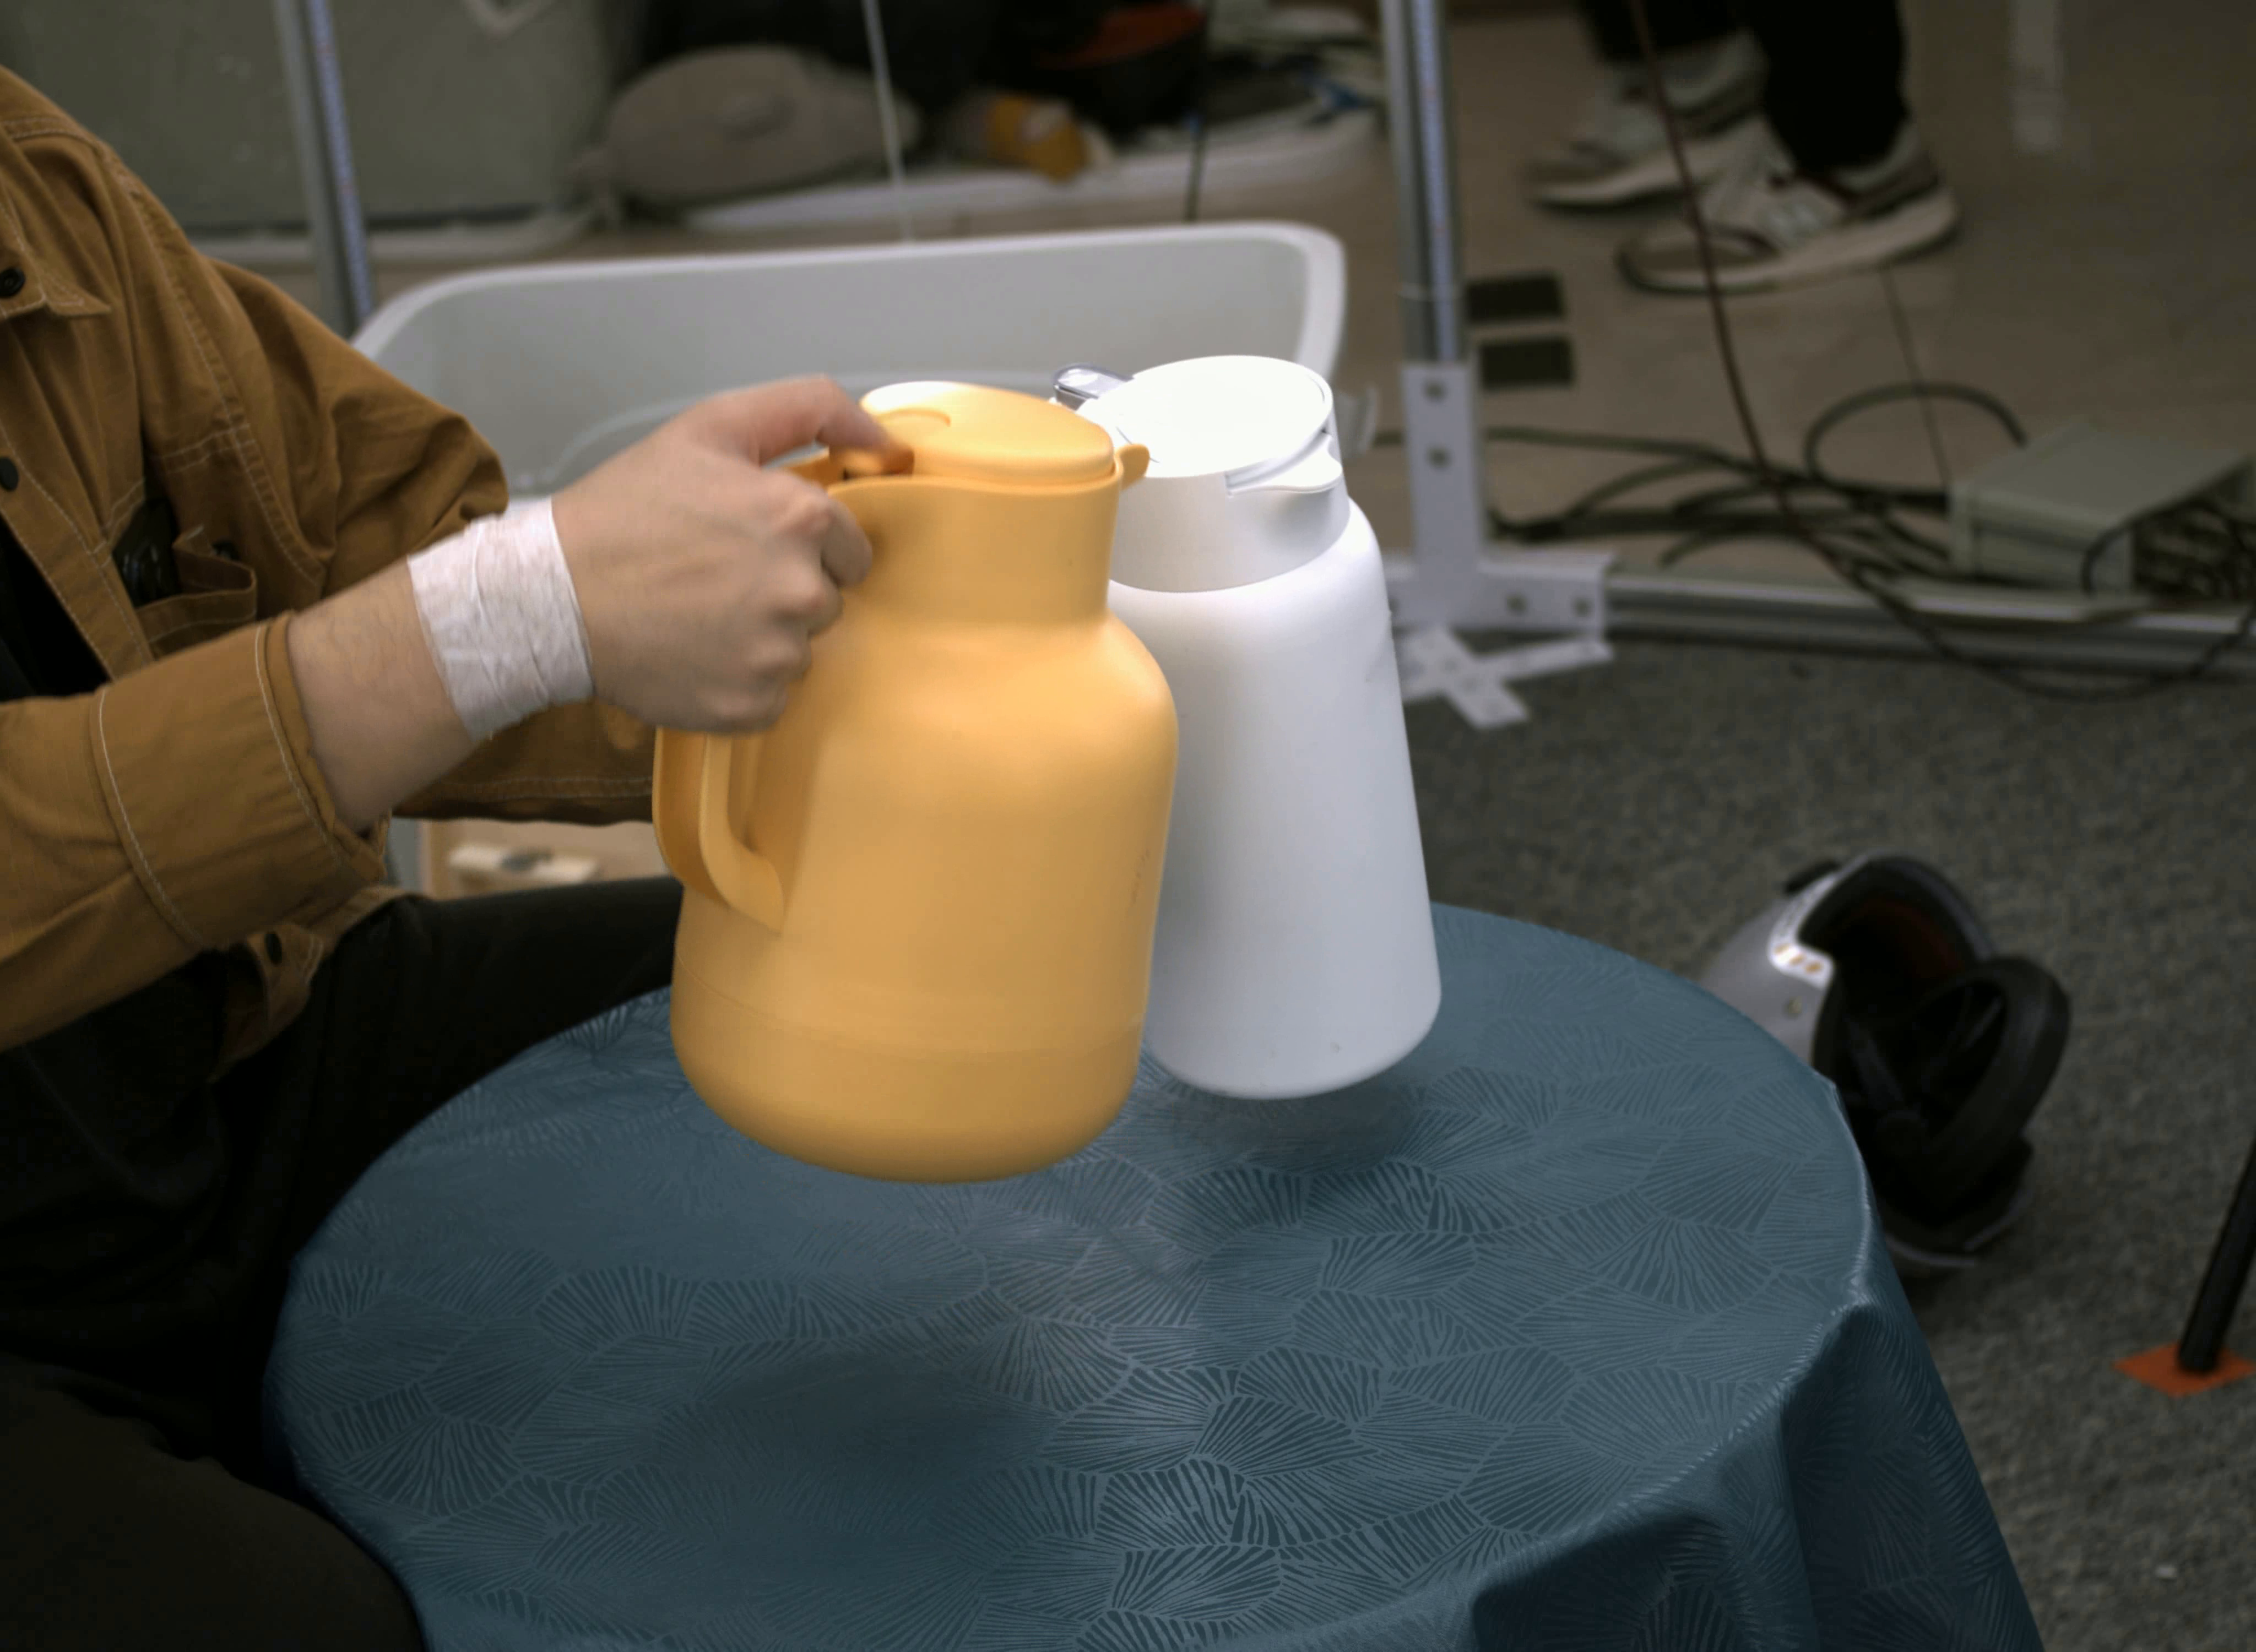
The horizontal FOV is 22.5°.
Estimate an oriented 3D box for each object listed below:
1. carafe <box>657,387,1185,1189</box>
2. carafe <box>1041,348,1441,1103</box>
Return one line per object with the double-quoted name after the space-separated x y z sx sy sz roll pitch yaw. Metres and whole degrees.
-0.077 -0.015 1.908 0.202 0.263 0.162 -9 23 -43 "carafe"
0.033 -0.039 2.125 0.122 0.274 0.171 -34 38 -32 "carafe"
